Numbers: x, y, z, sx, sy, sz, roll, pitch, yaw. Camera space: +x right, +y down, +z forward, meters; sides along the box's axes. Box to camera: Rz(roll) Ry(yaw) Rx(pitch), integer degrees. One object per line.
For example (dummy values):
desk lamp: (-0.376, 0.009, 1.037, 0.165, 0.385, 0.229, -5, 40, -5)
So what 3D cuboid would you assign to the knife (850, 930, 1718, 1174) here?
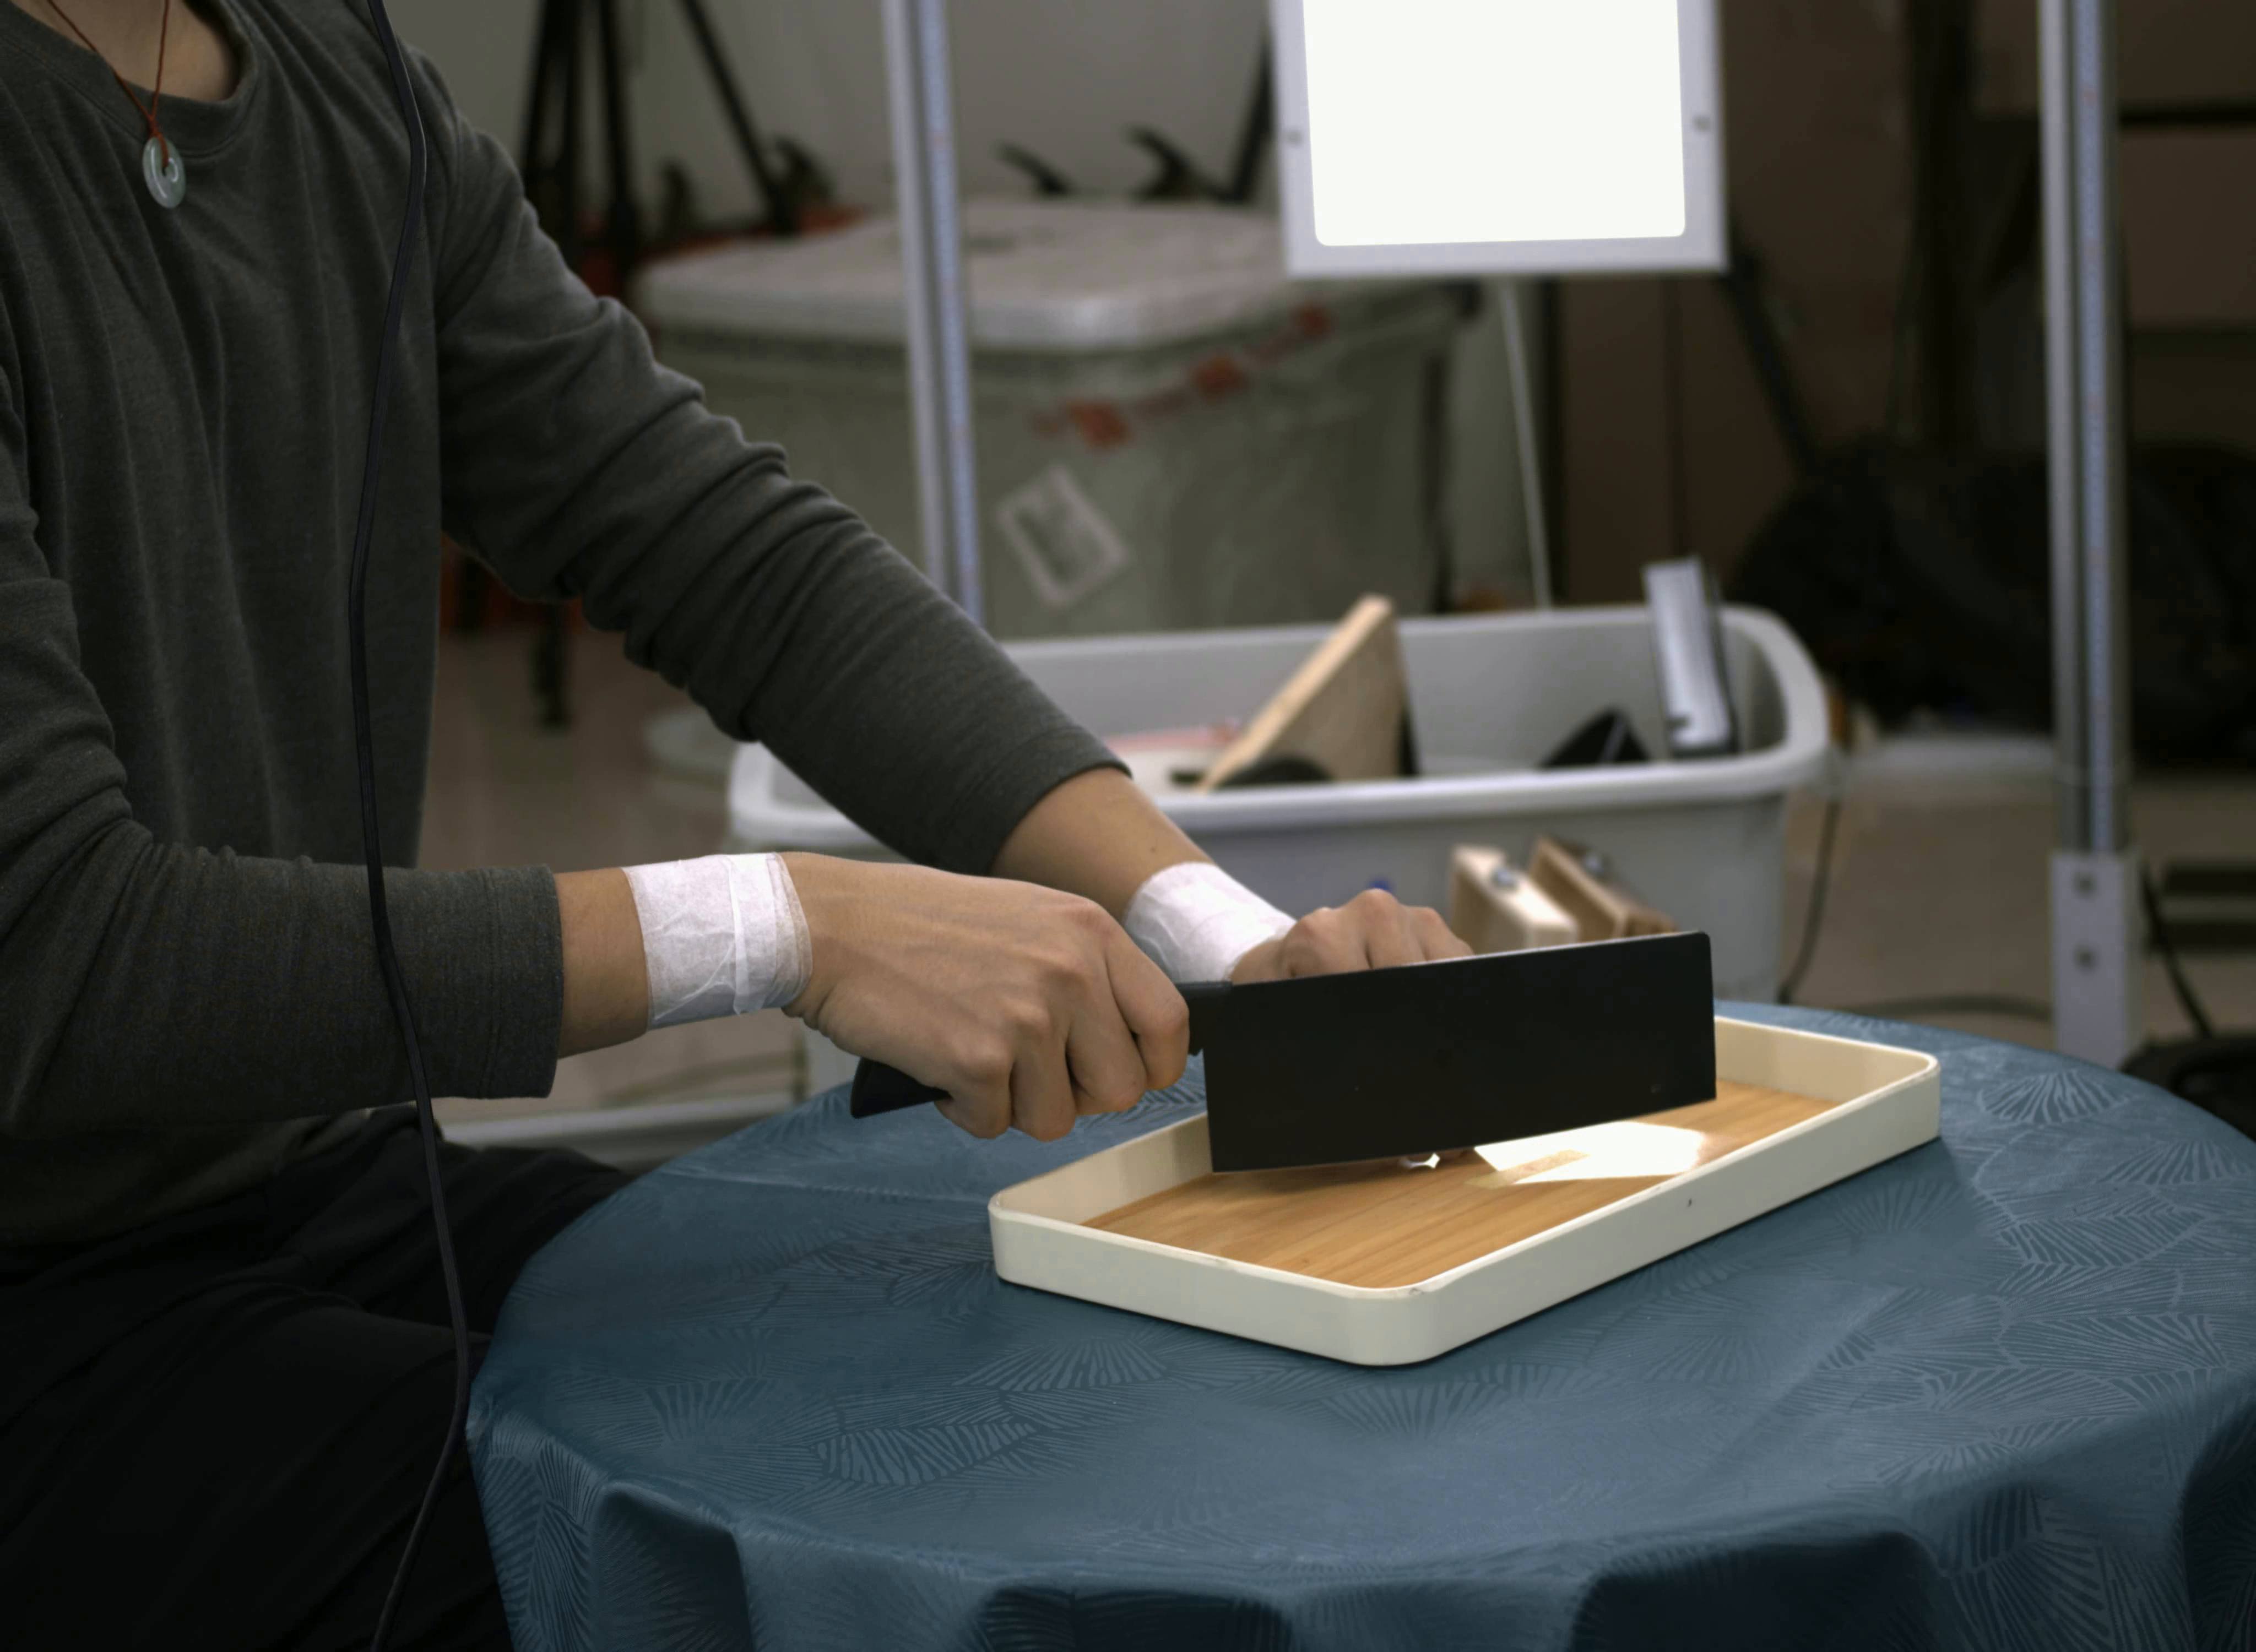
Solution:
knife: (0.056, 0.078, 1.853, 0.299, 0.081, 0.021, -2, 10, -9)

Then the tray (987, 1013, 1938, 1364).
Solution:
tray: (0.117, 0.114, 1.854, 0.292, 0.027, 0.196, -18, 18, -42)
